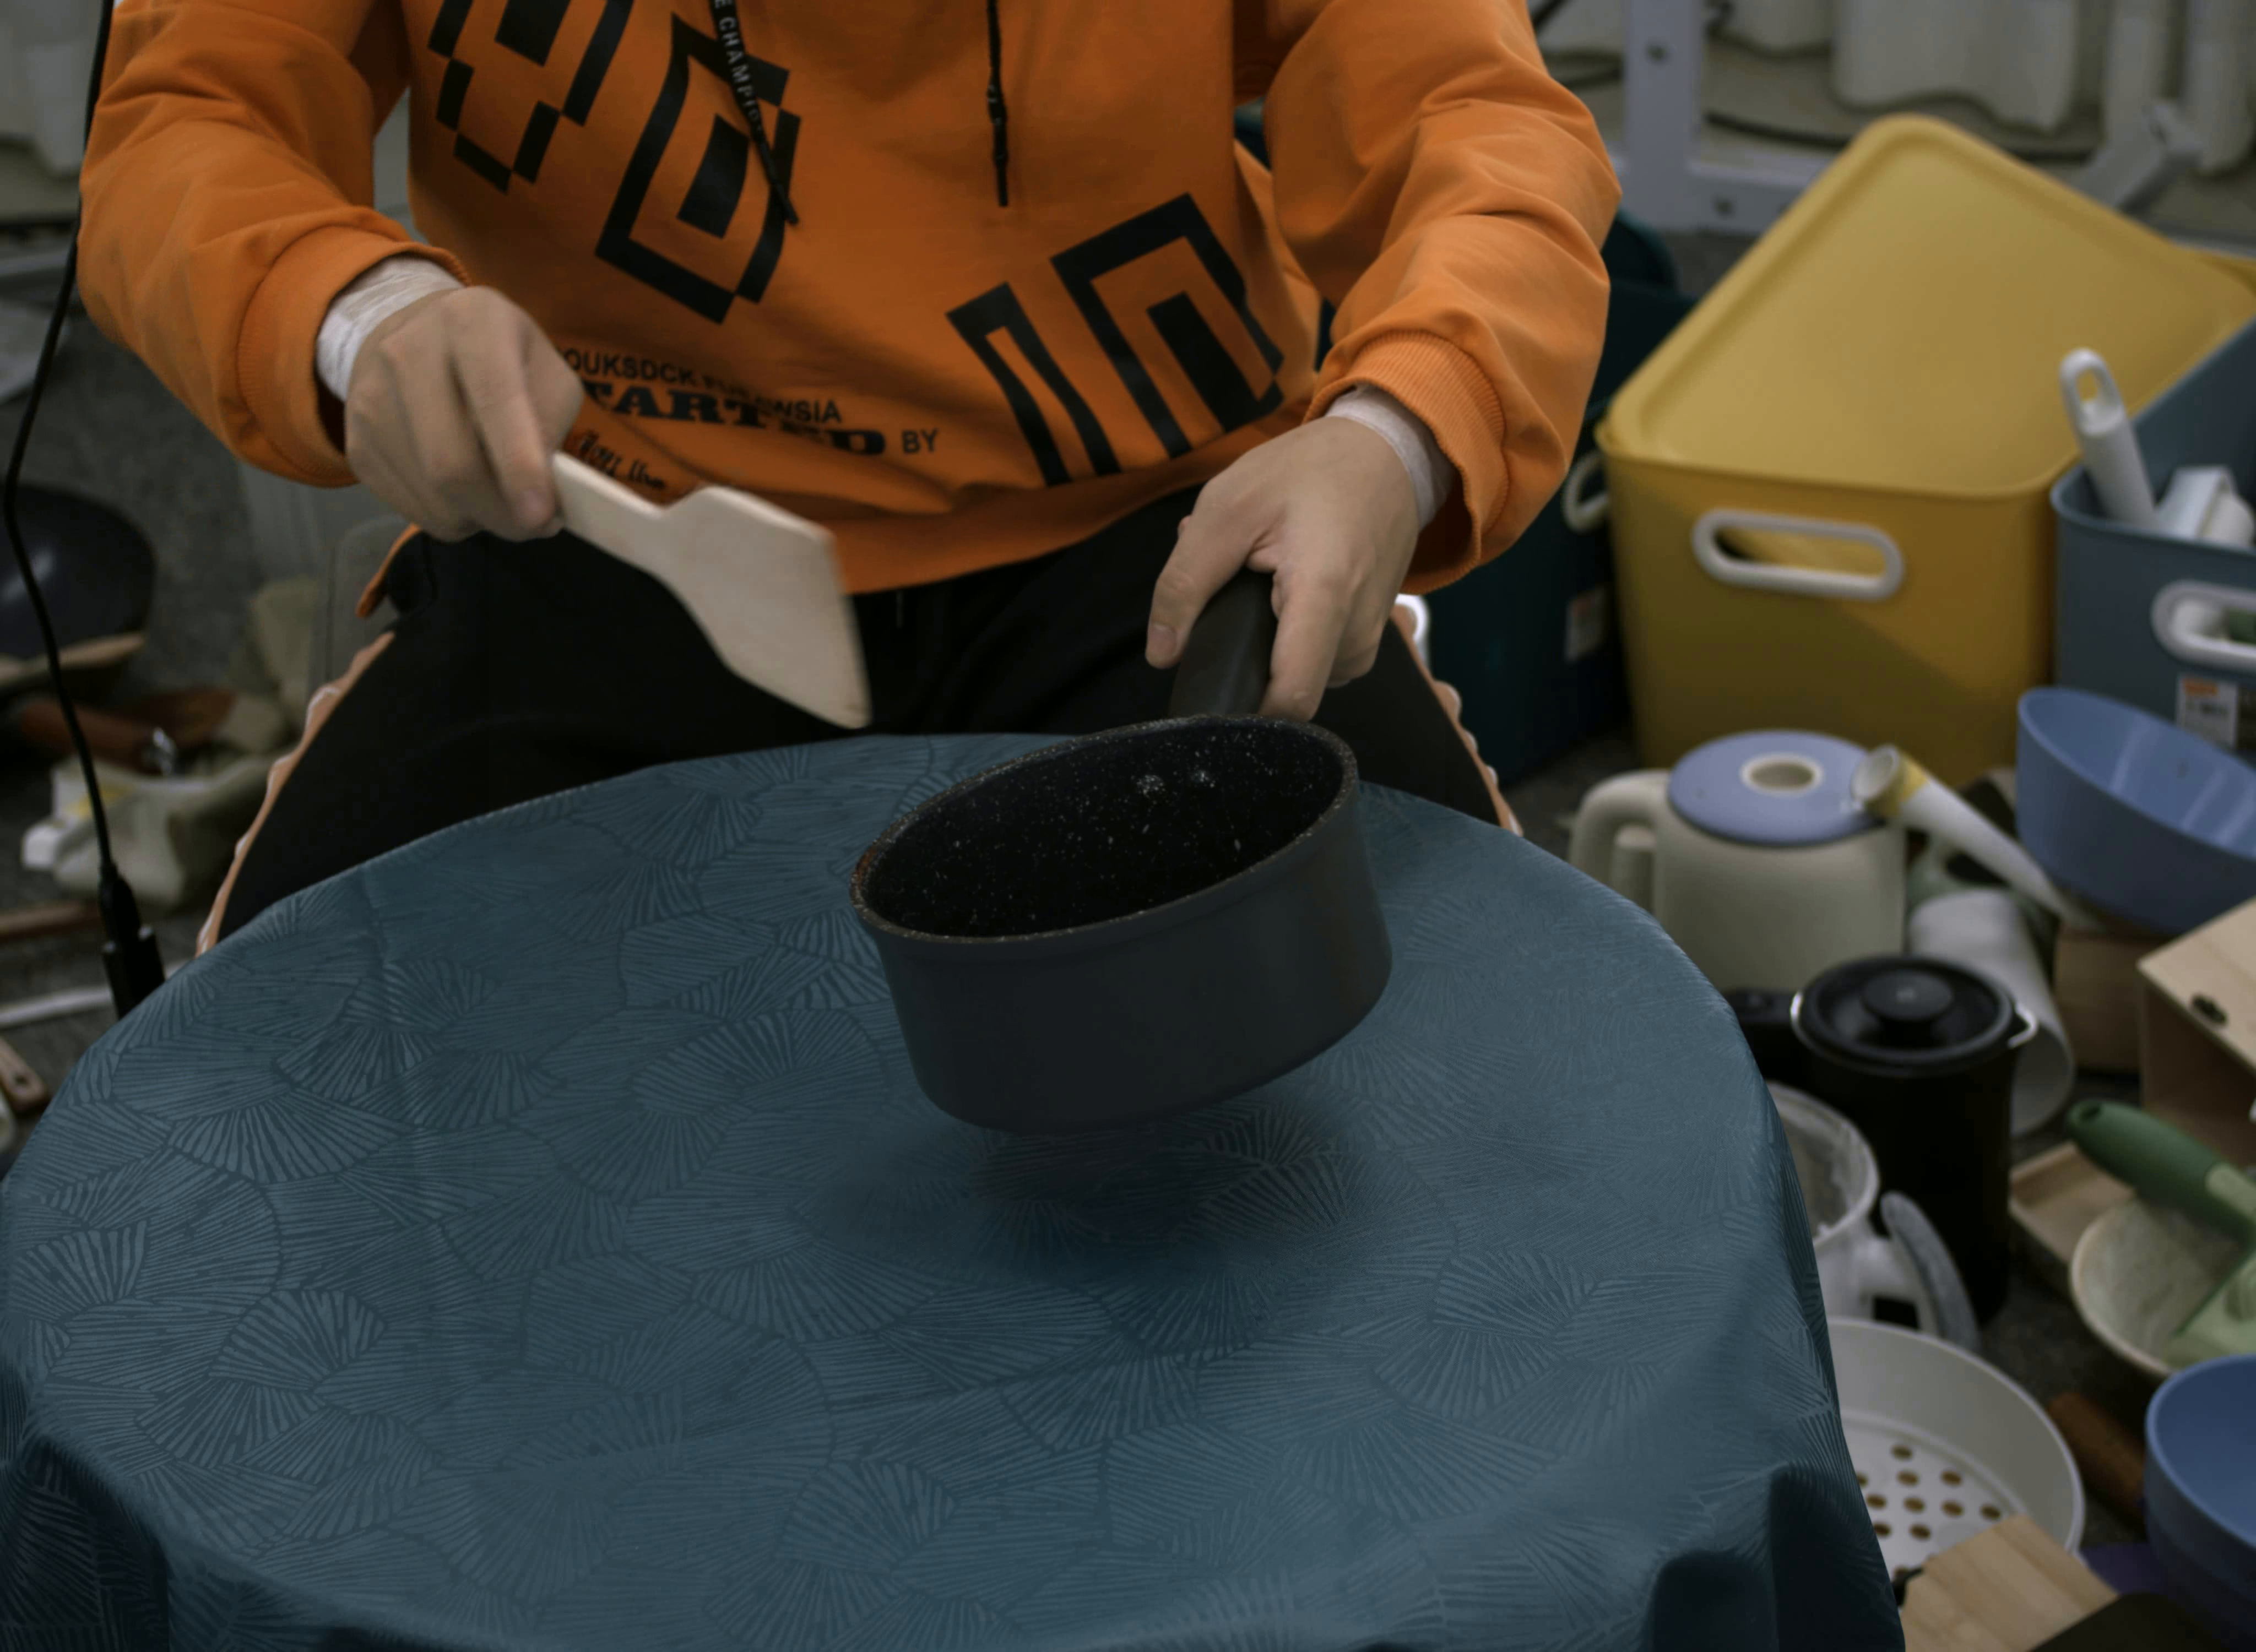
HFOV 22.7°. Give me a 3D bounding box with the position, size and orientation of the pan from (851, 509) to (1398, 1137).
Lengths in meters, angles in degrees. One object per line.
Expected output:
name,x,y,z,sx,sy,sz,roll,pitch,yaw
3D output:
pan,0.023,-0.004,1.911,0.170,0.086,0.334,-6,24,21

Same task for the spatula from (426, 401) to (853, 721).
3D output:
spatula,-0.172,-0.101,1.882,0.011,0.071,0.293,-27,28,-22
